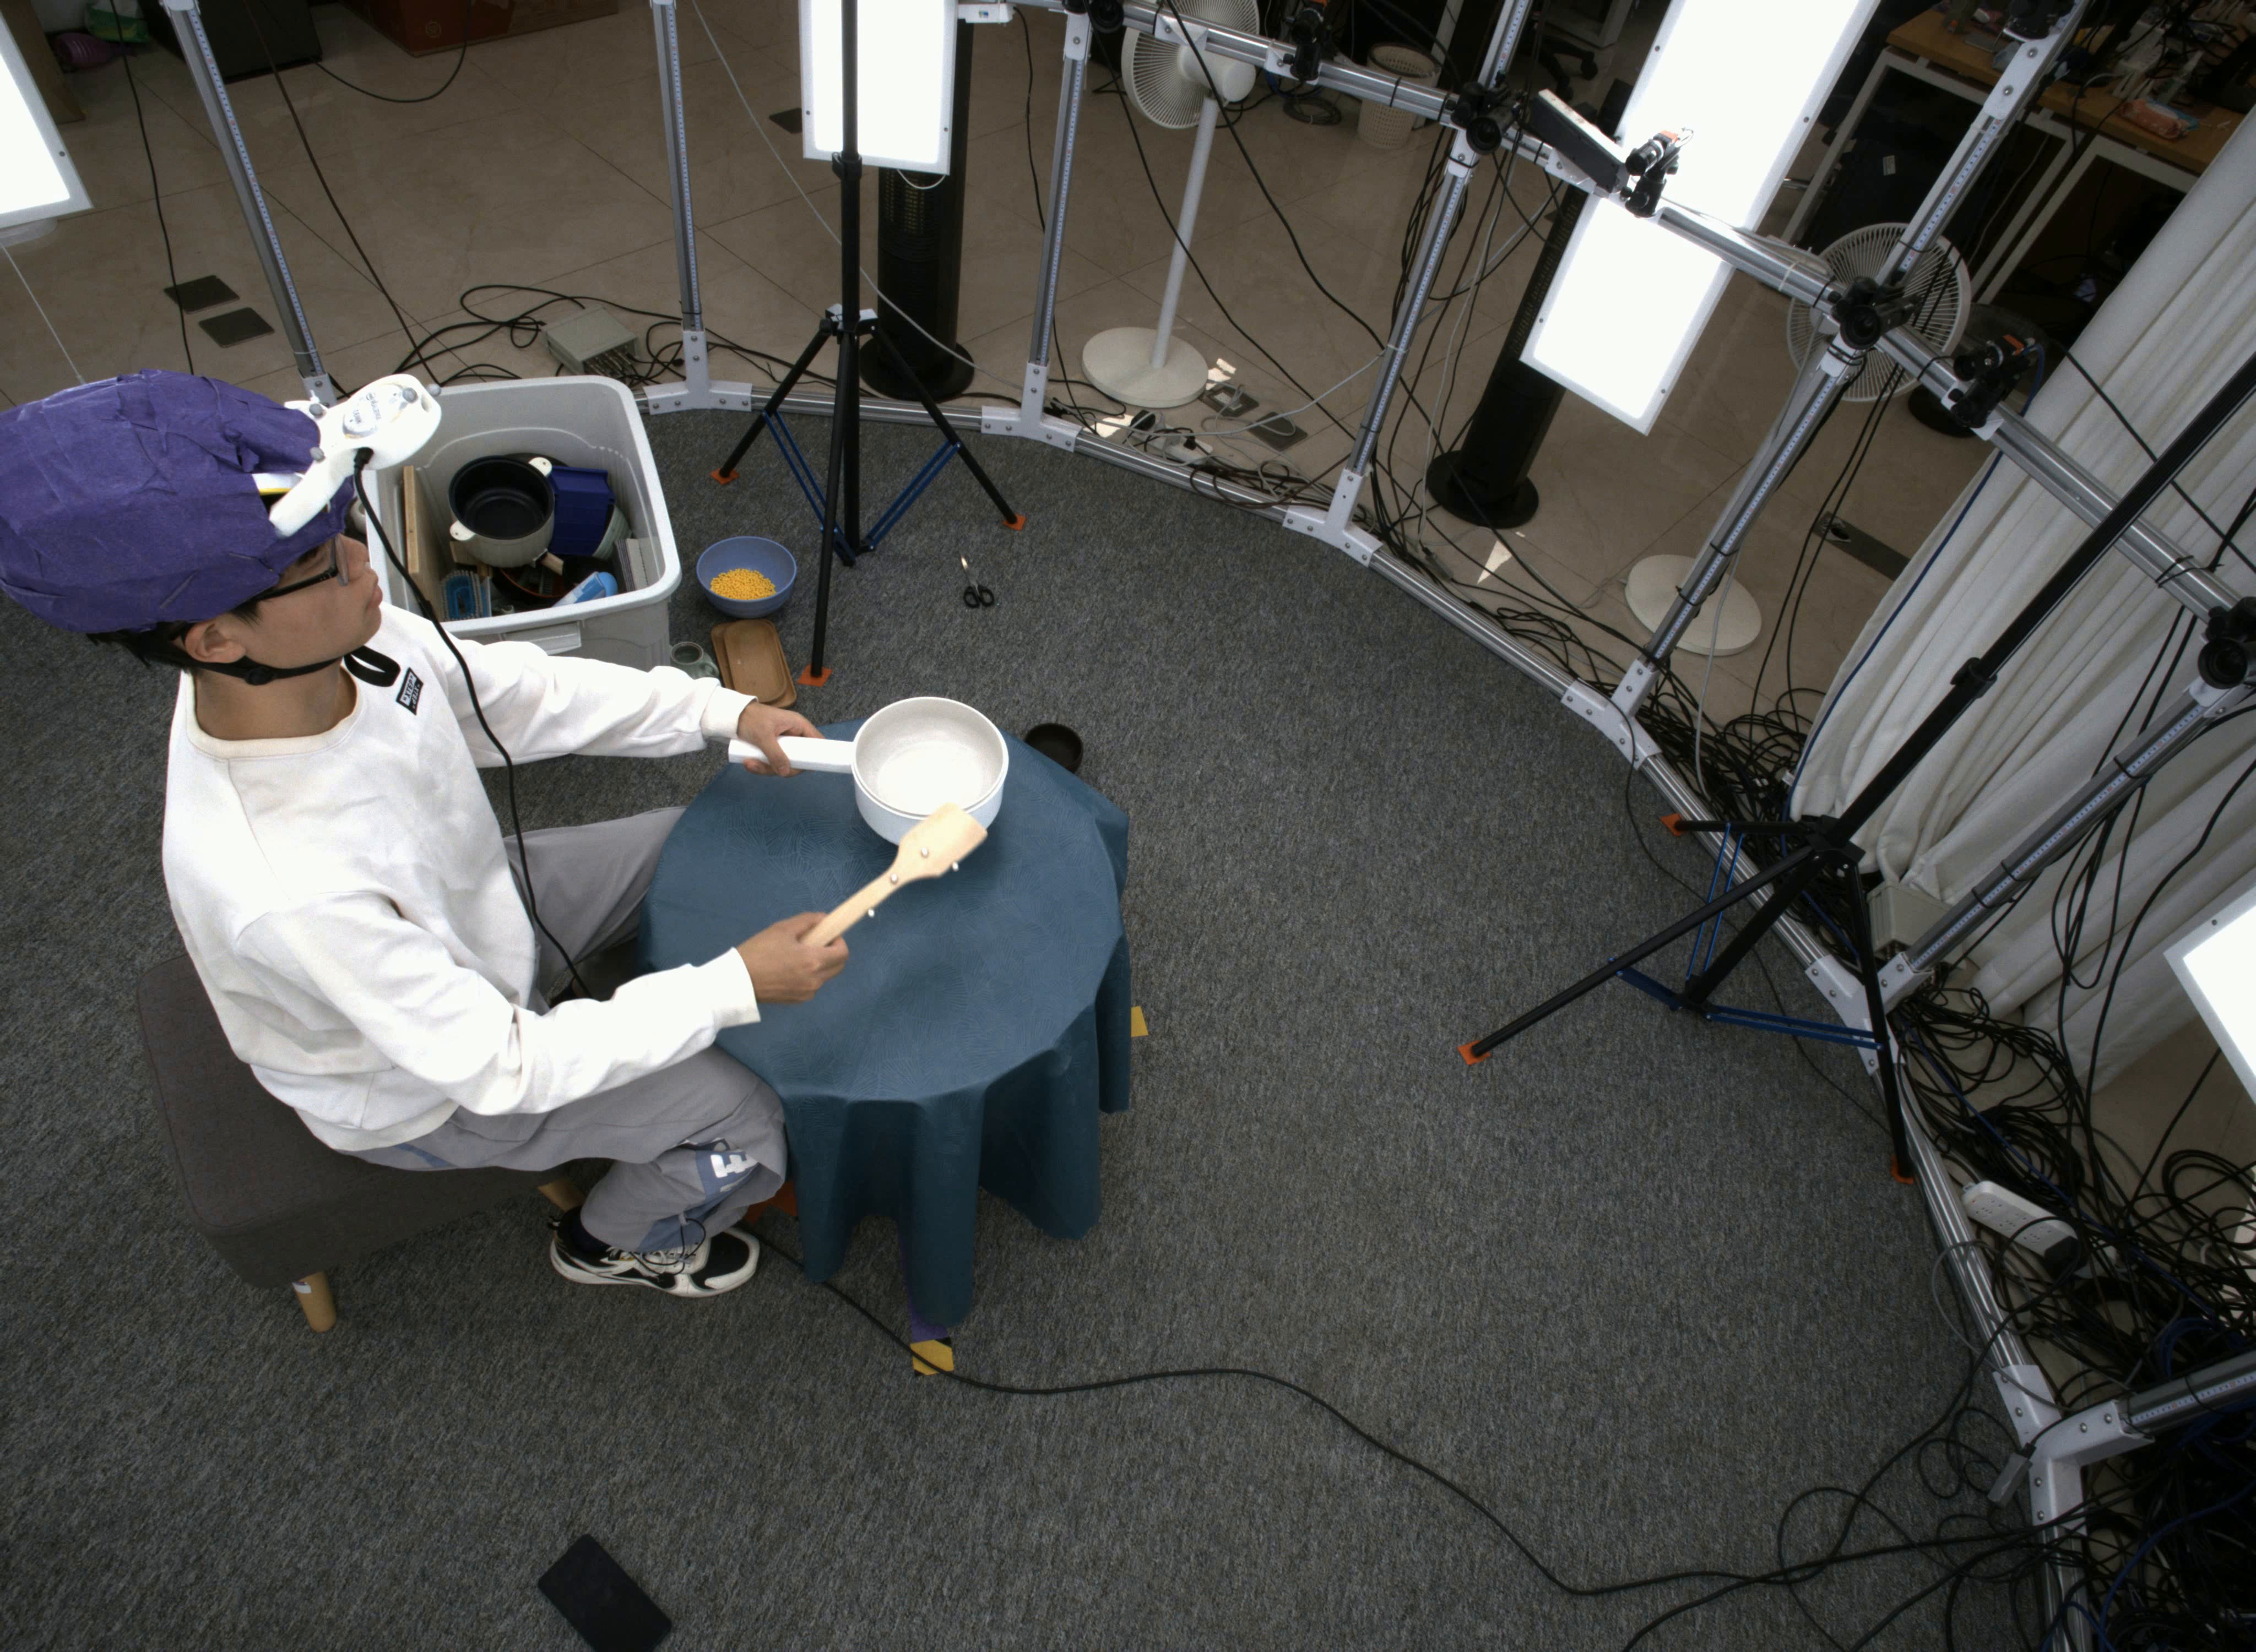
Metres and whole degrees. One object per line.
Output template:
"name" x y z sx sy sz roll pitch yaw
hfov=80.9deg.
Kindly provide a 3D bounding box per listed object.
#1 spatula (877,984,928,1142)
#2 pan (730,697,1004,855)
"spatula" -0.389 0.384 2.164 0.072 0.011 0.286 -6 55 -15
"pan" -0.339 -0.066 1.715 0.353 0.104 0.198 3 58 -6
